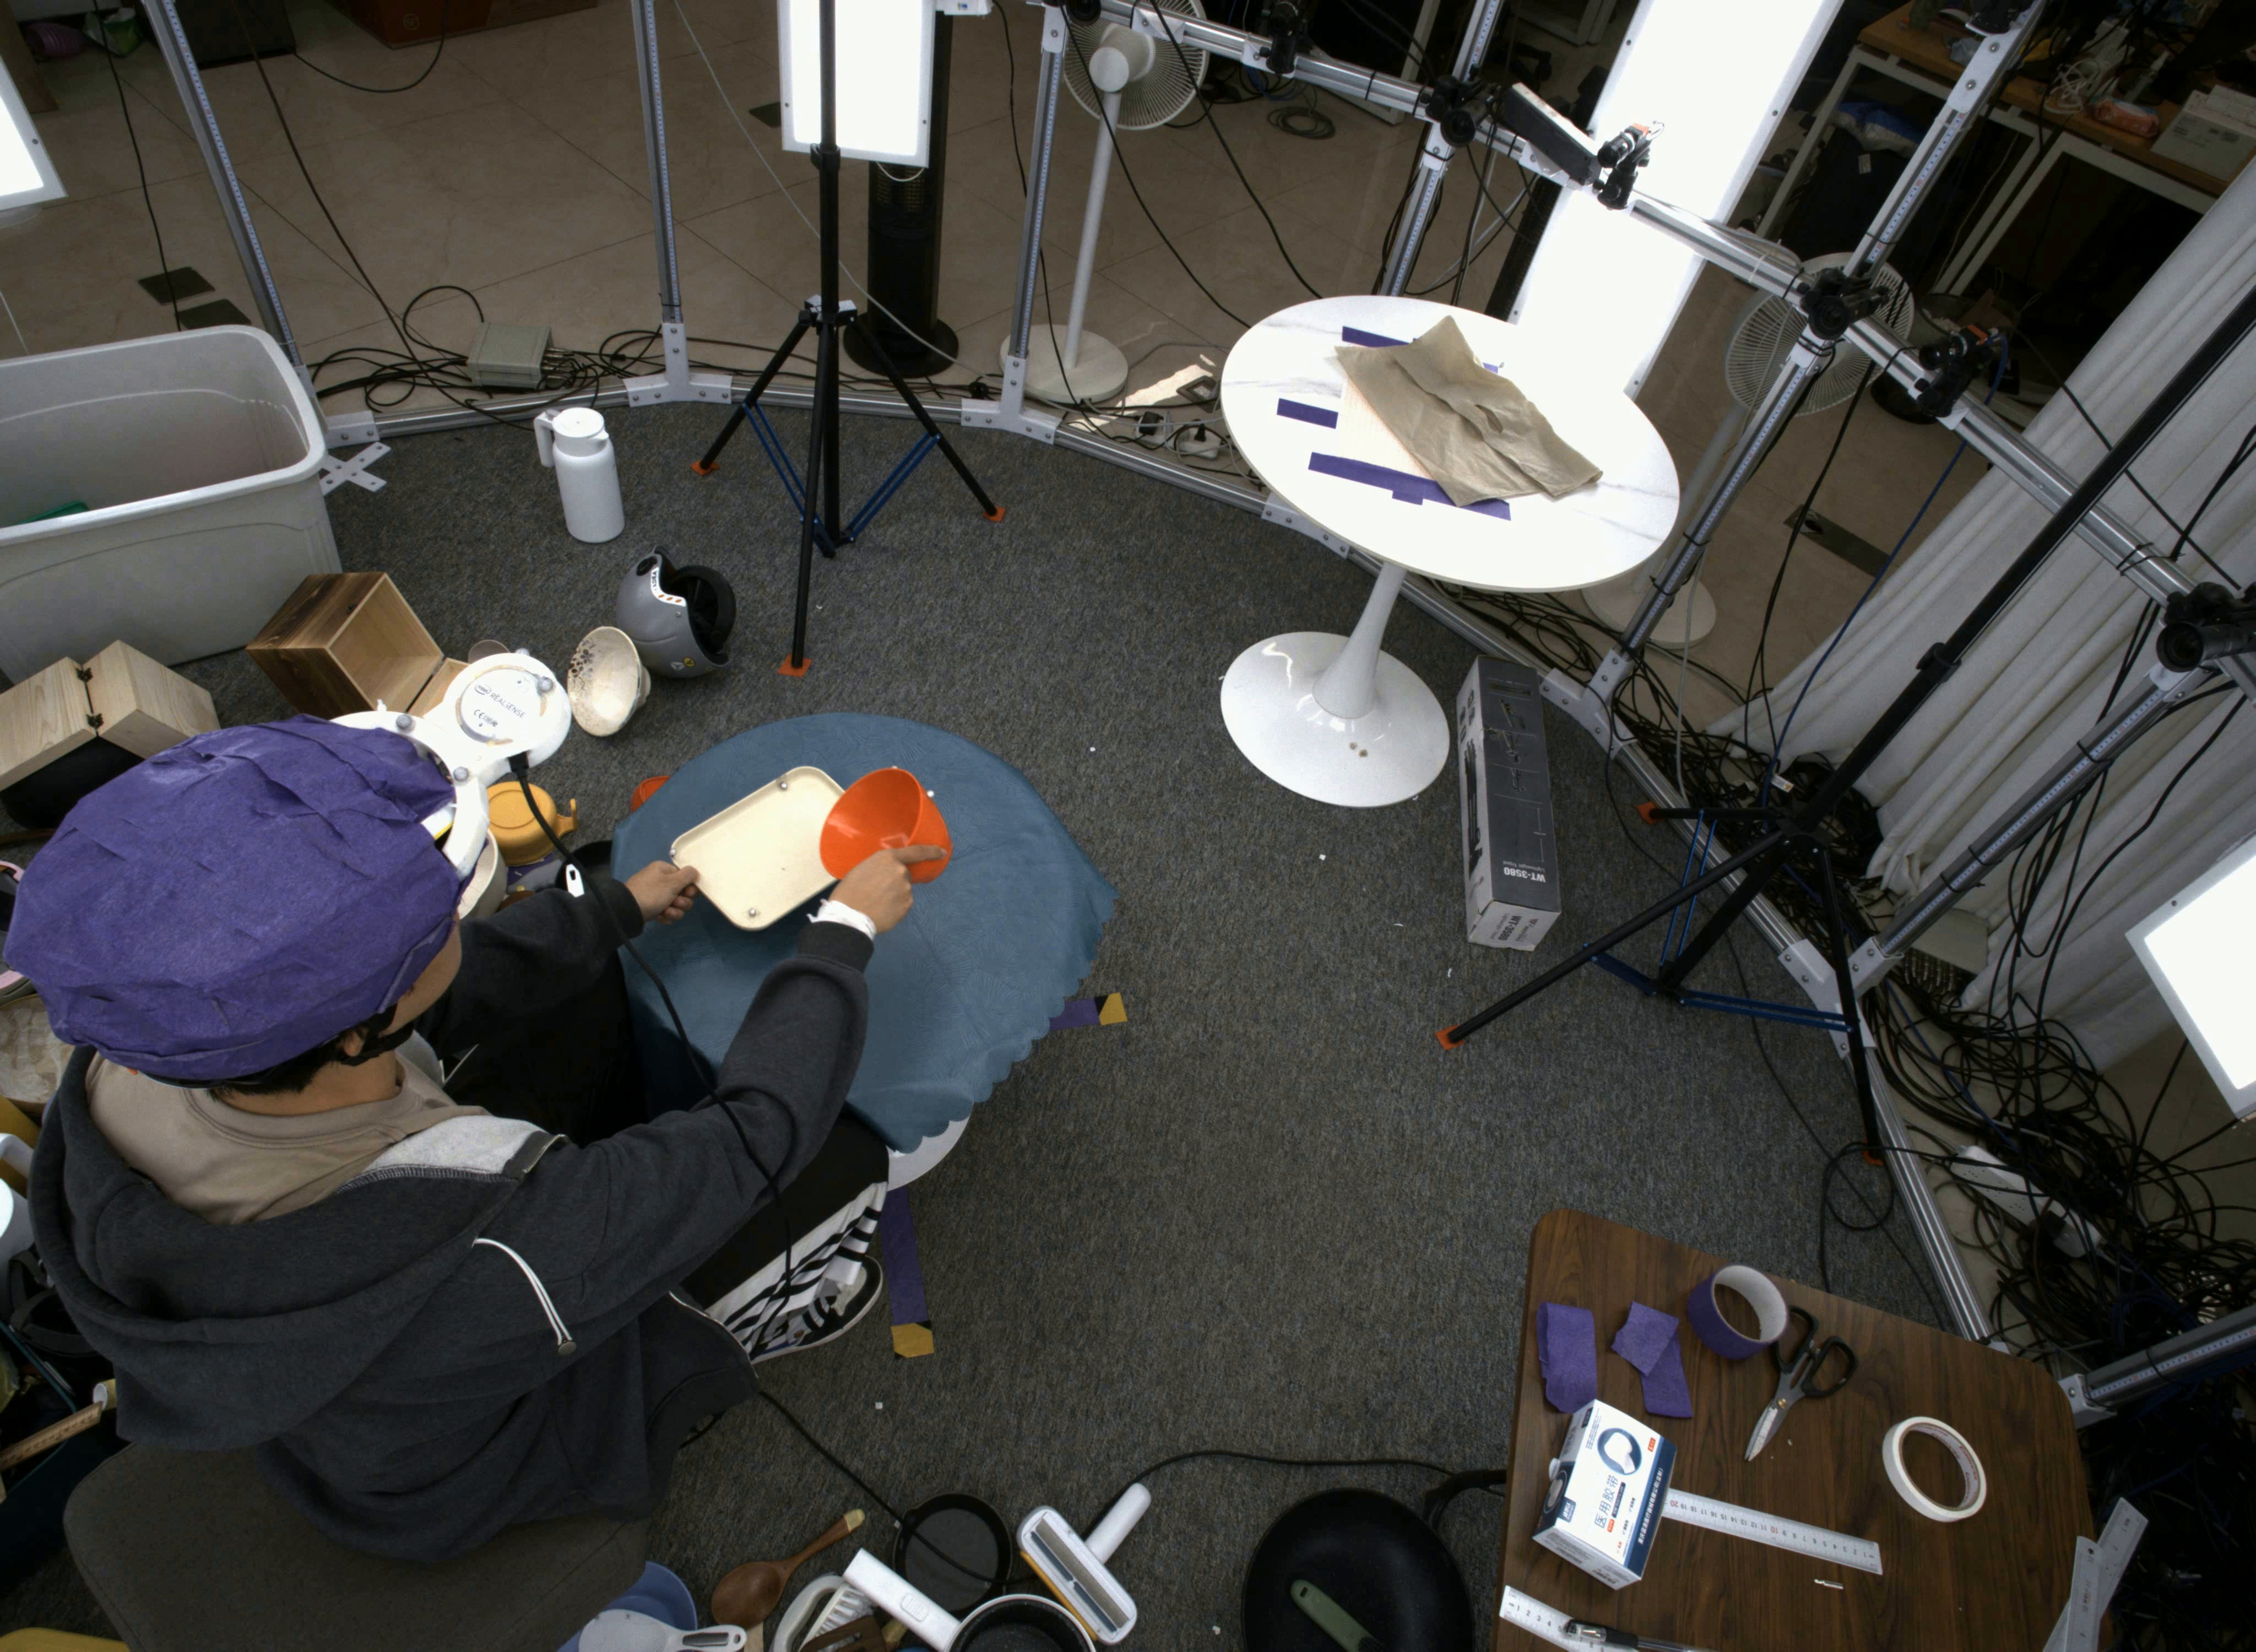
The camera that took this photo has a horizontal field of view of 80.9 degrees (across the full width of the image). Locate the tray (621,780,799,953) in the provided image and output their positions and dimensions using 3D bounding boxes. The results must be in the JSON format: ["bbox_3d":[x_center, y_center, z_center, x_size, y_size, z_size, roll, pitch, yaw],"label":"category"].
[{"bbox_3d":[-0.494,0.046,1.605,0.168,0.018,0.240,39,51,11],"label":"tray"}]

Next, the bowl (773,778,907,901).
[{"bbox_3d":[-0.322,0.029,1.496,0.108,0.146,0.145,36,36,-41],"label":"bowl"}]
